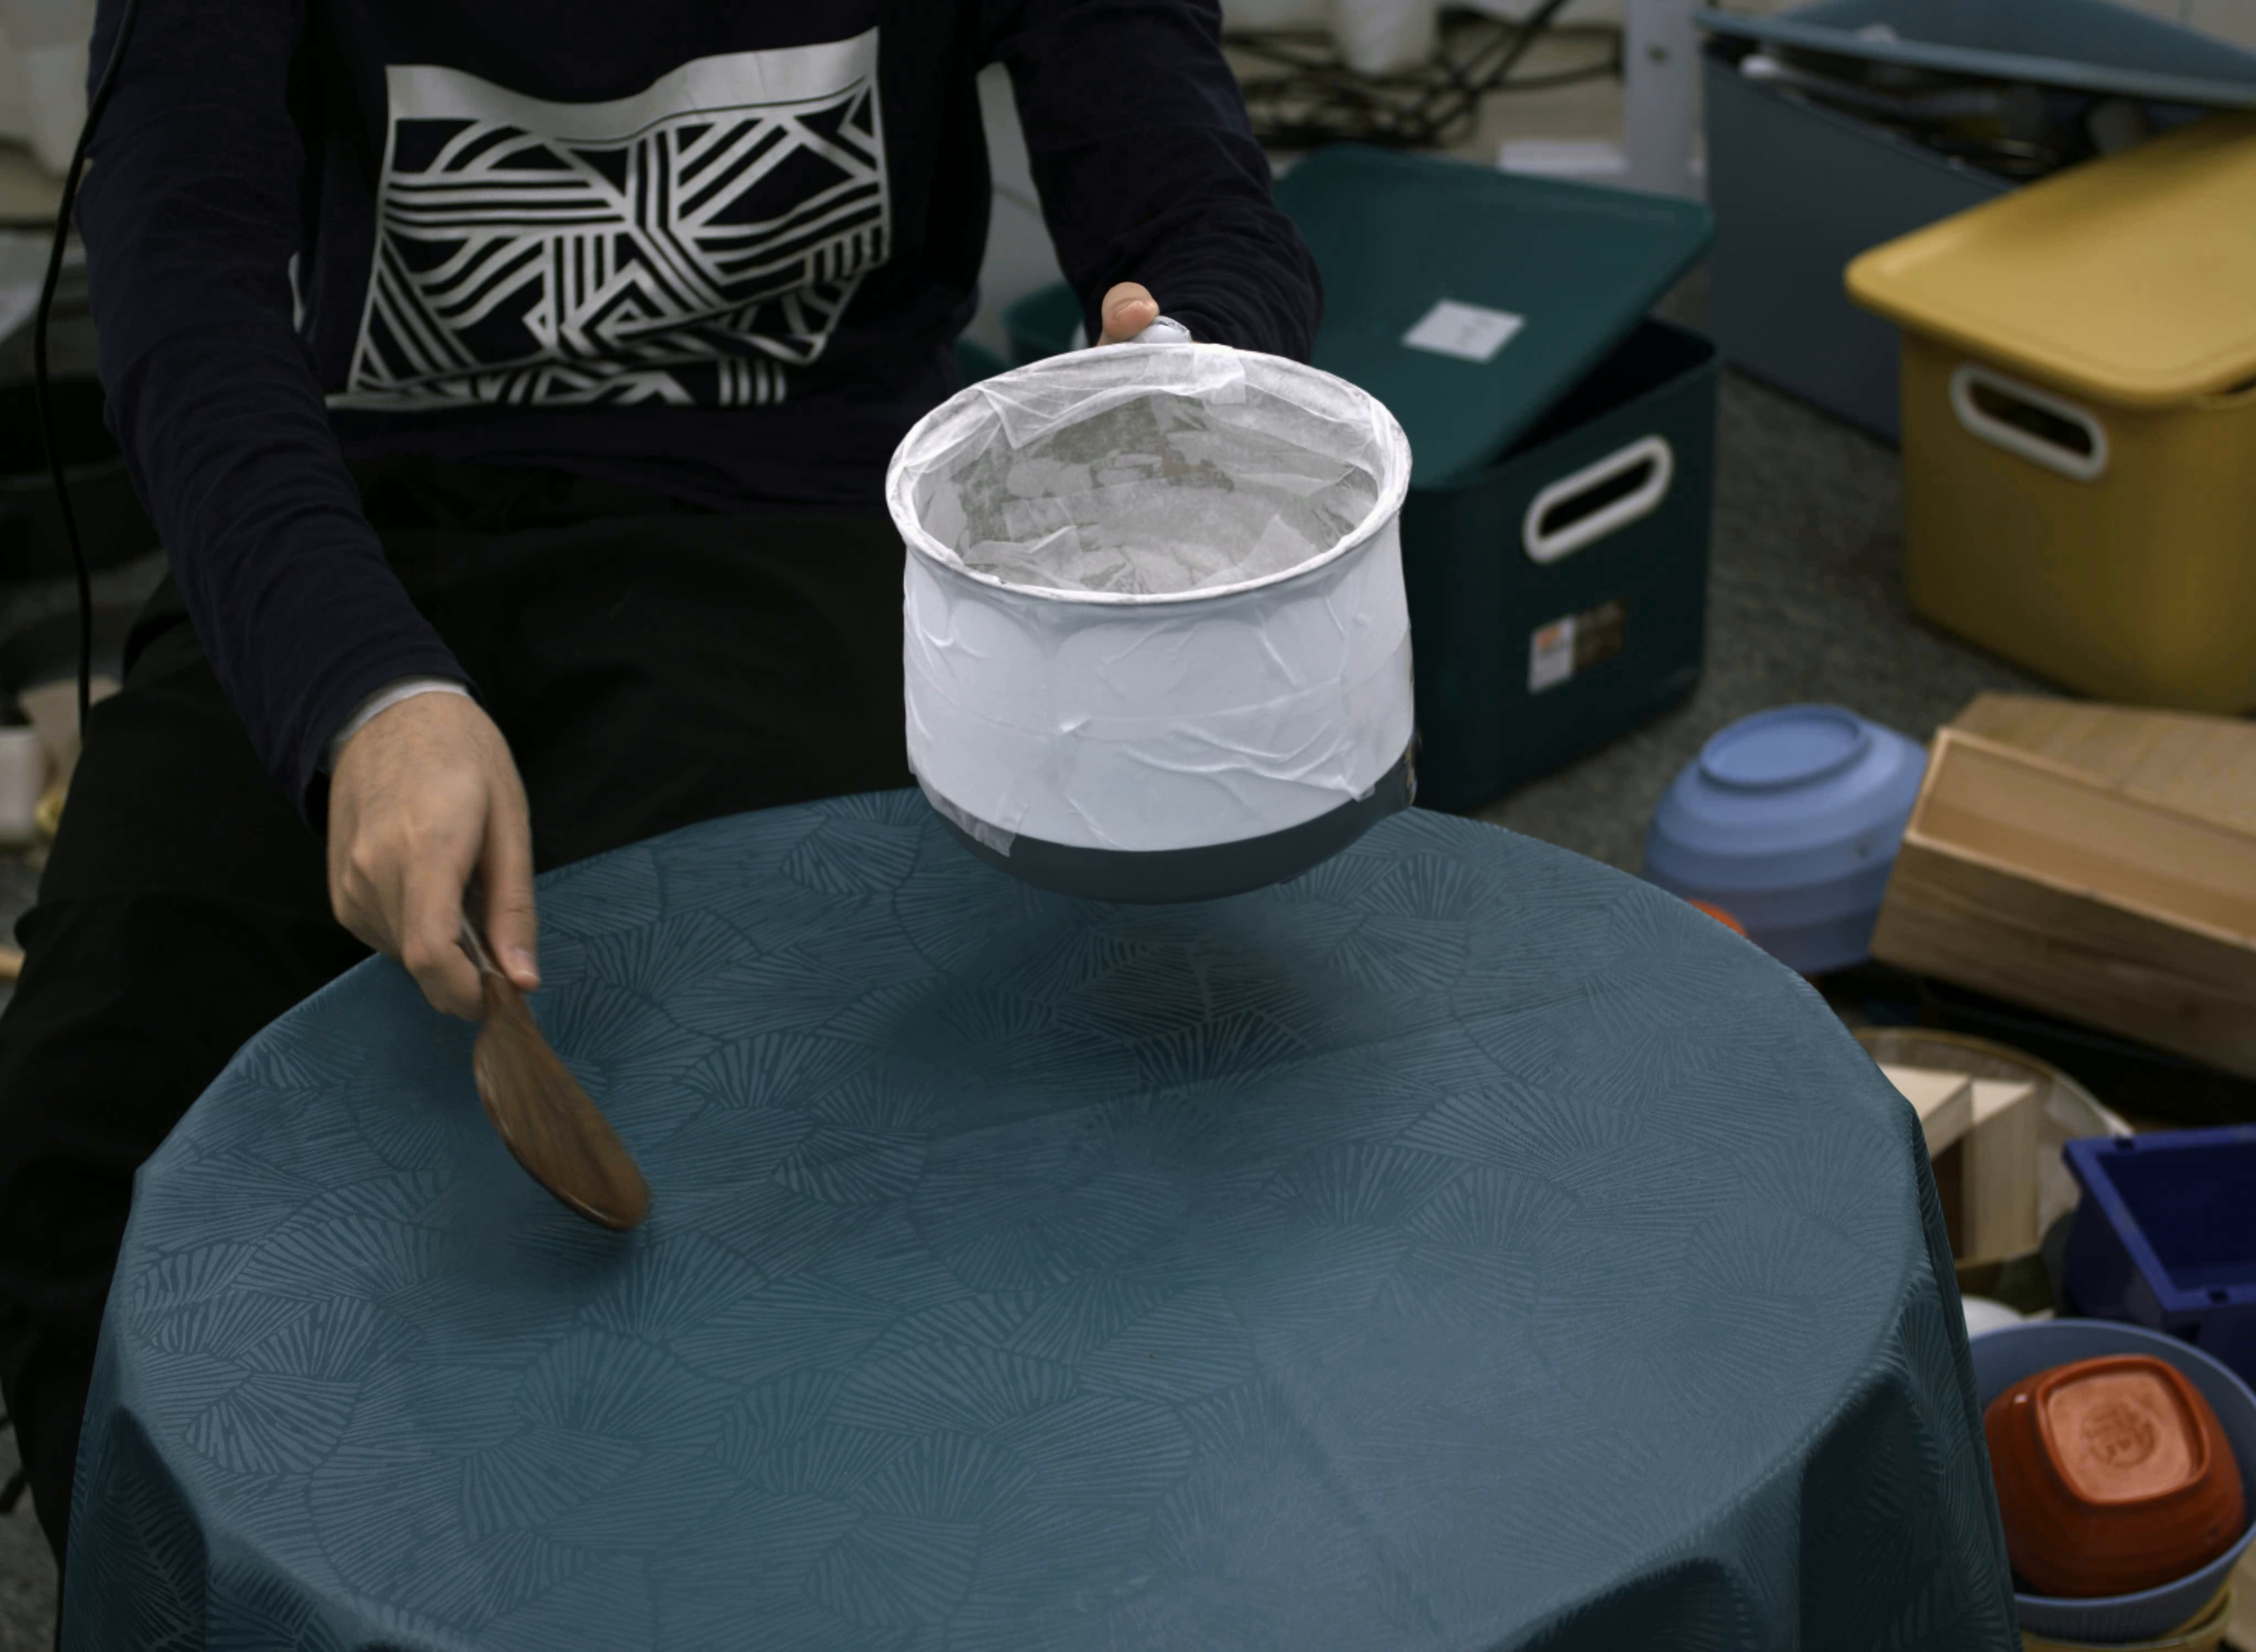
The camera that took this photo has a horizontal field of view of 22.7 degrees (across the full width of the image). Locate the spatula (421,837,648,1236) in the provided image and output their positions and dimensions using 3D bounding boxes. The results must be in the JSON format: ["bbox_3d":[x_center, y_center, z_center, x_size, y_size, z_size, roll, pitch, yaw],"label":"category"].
[{"bbox_3d":[-0.207,0.068,1.892,0.009,0.071,0.218,-45,38,12],"label":"spatula"}]

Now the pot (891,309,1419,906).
[{"bbox_3d":[0.010,-0.083,1.938,0.178,0.135,0.238,0,33,0],"label":"pot"}]
